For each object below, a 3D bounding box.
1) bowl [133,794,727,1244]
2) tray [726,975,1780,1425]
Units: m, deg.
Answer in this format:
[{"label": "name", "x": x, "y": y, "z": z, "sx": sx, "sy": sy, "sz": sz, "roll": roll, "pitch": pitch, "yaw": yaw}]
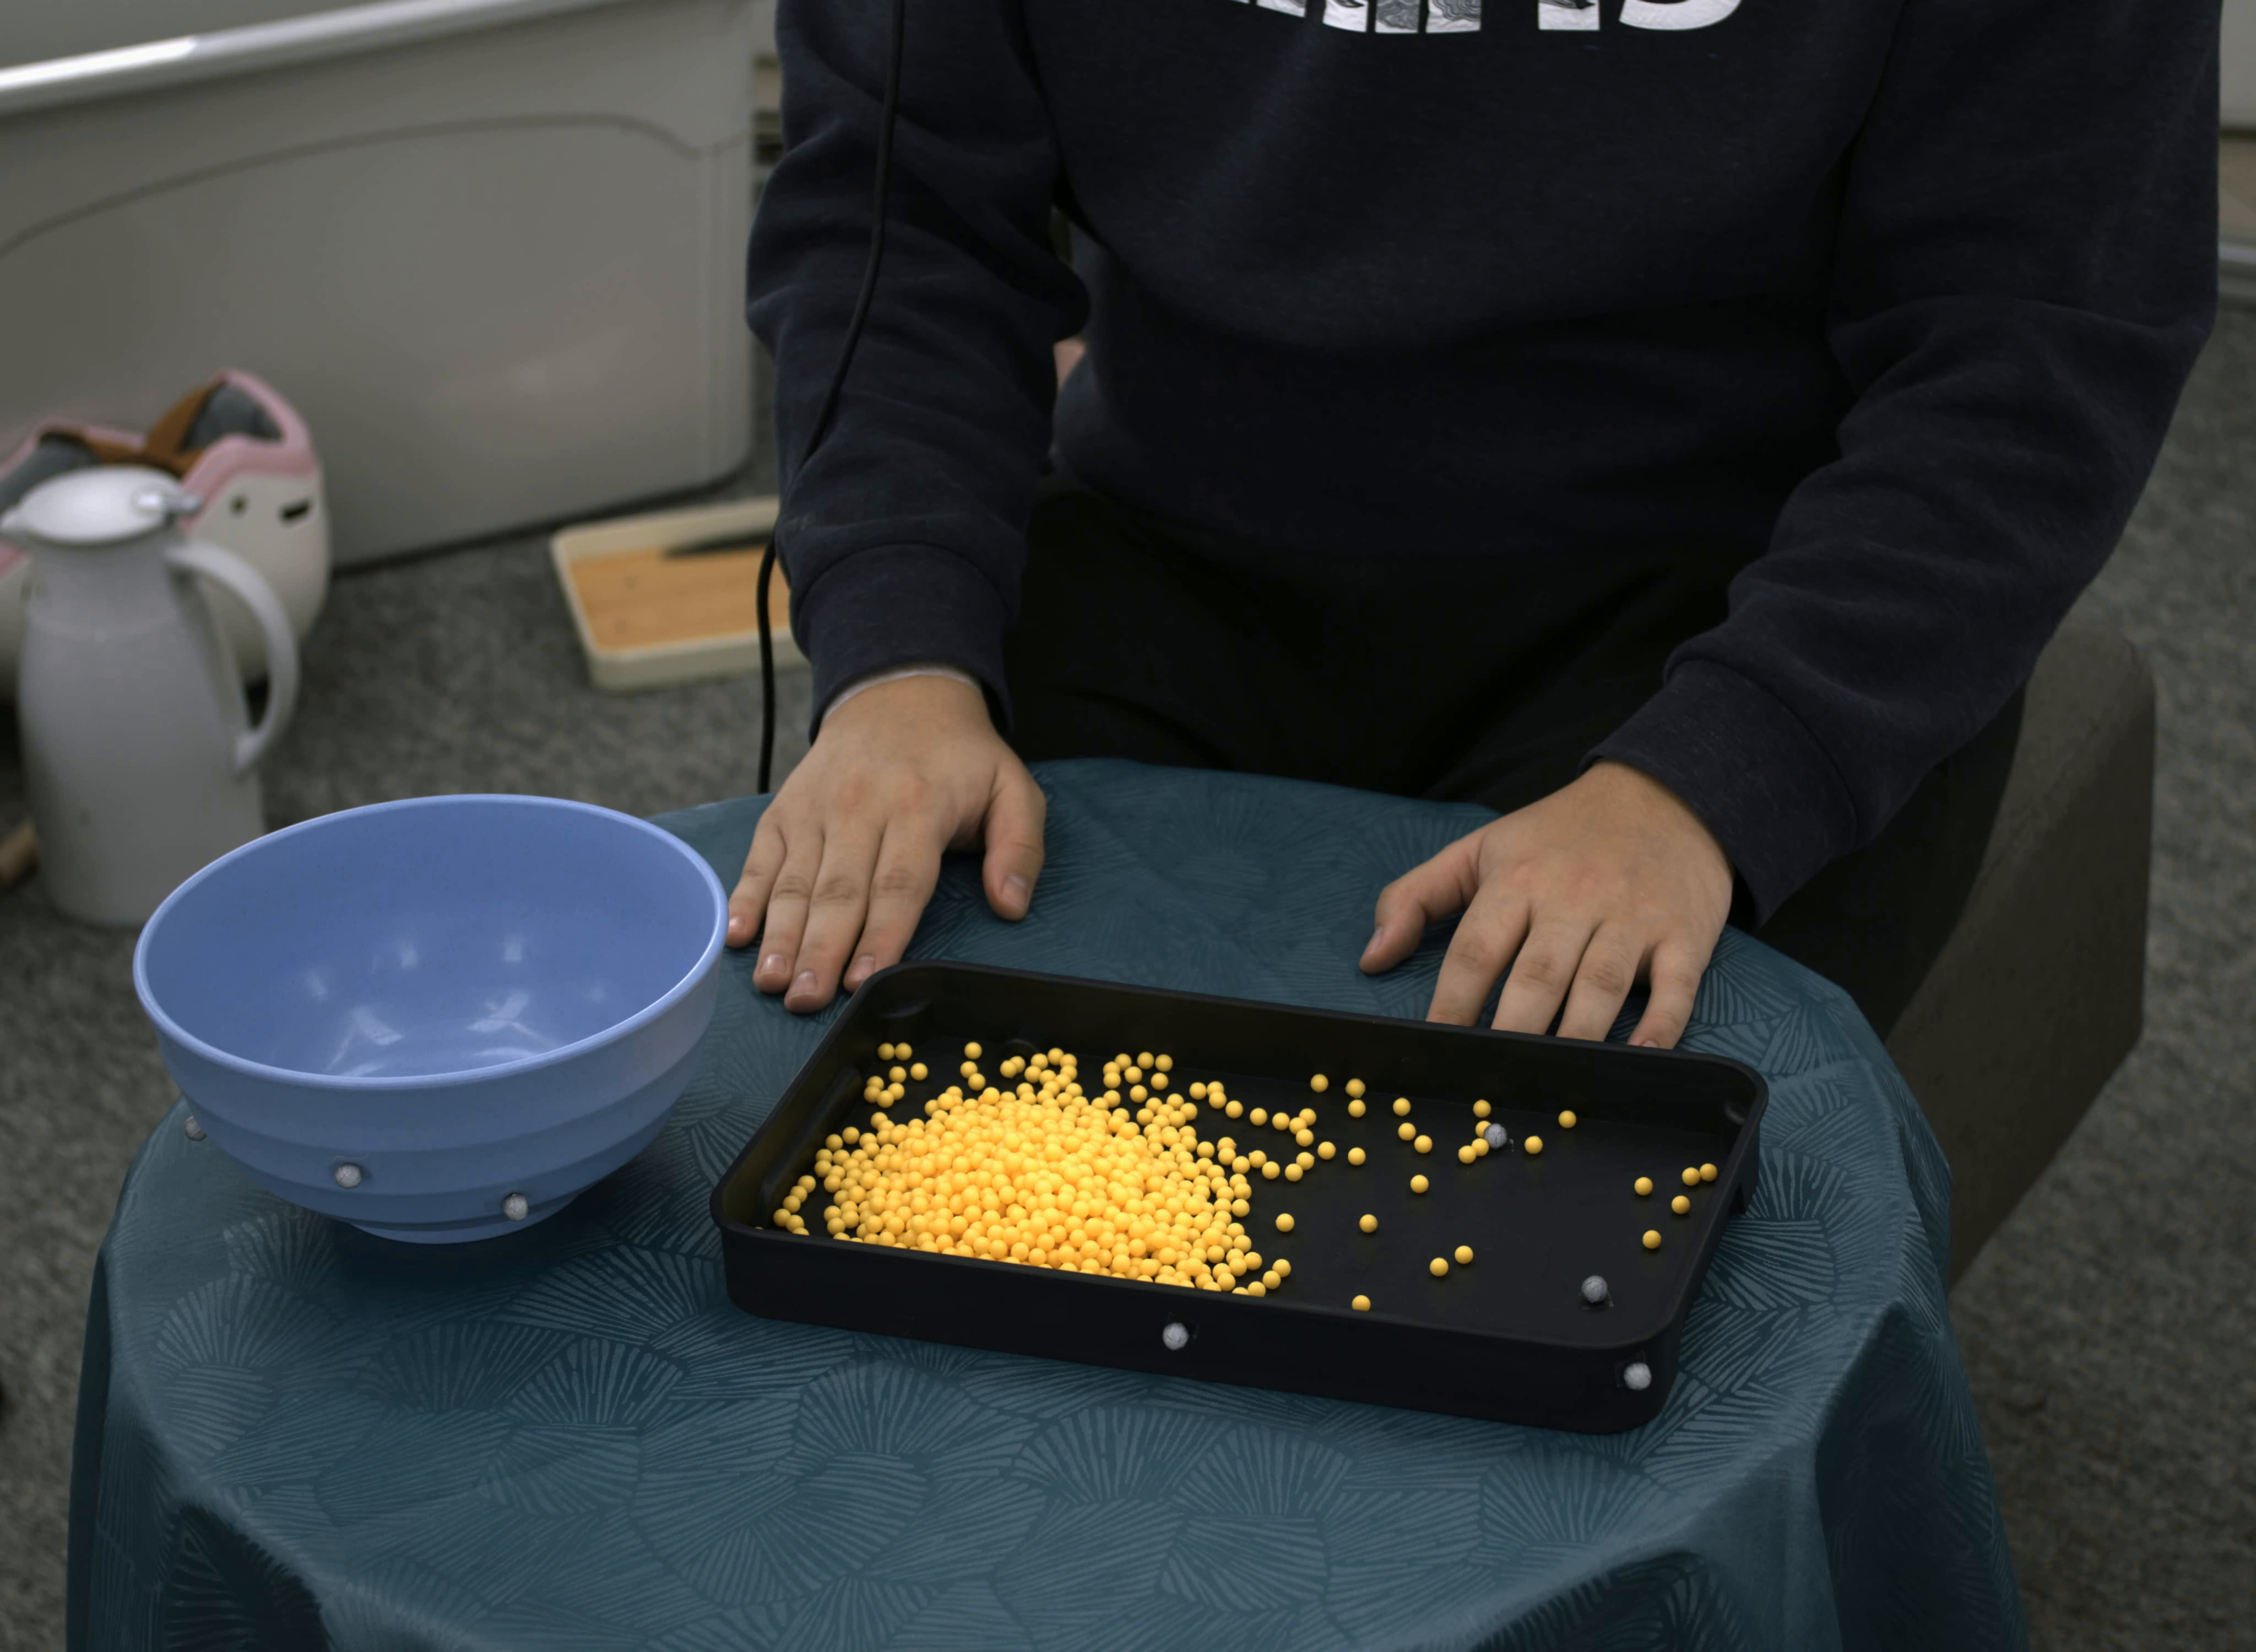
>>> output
[{"label": "bowl", "x": -0.226, "y": 0.075, "z": 1.871, "sx": 0.195, "sy": 0.094, "sz": 0.199, "roll": -3, "pitch": 27, "yaw": 2}, {"label": "tray", "x": 0.043, "y": 0.119, "z": 1.831, "sx": 0.316, "sy": 0.036, "sz": 0.187, "roll": 5, "pitch": 28, "yaw": 16}]
